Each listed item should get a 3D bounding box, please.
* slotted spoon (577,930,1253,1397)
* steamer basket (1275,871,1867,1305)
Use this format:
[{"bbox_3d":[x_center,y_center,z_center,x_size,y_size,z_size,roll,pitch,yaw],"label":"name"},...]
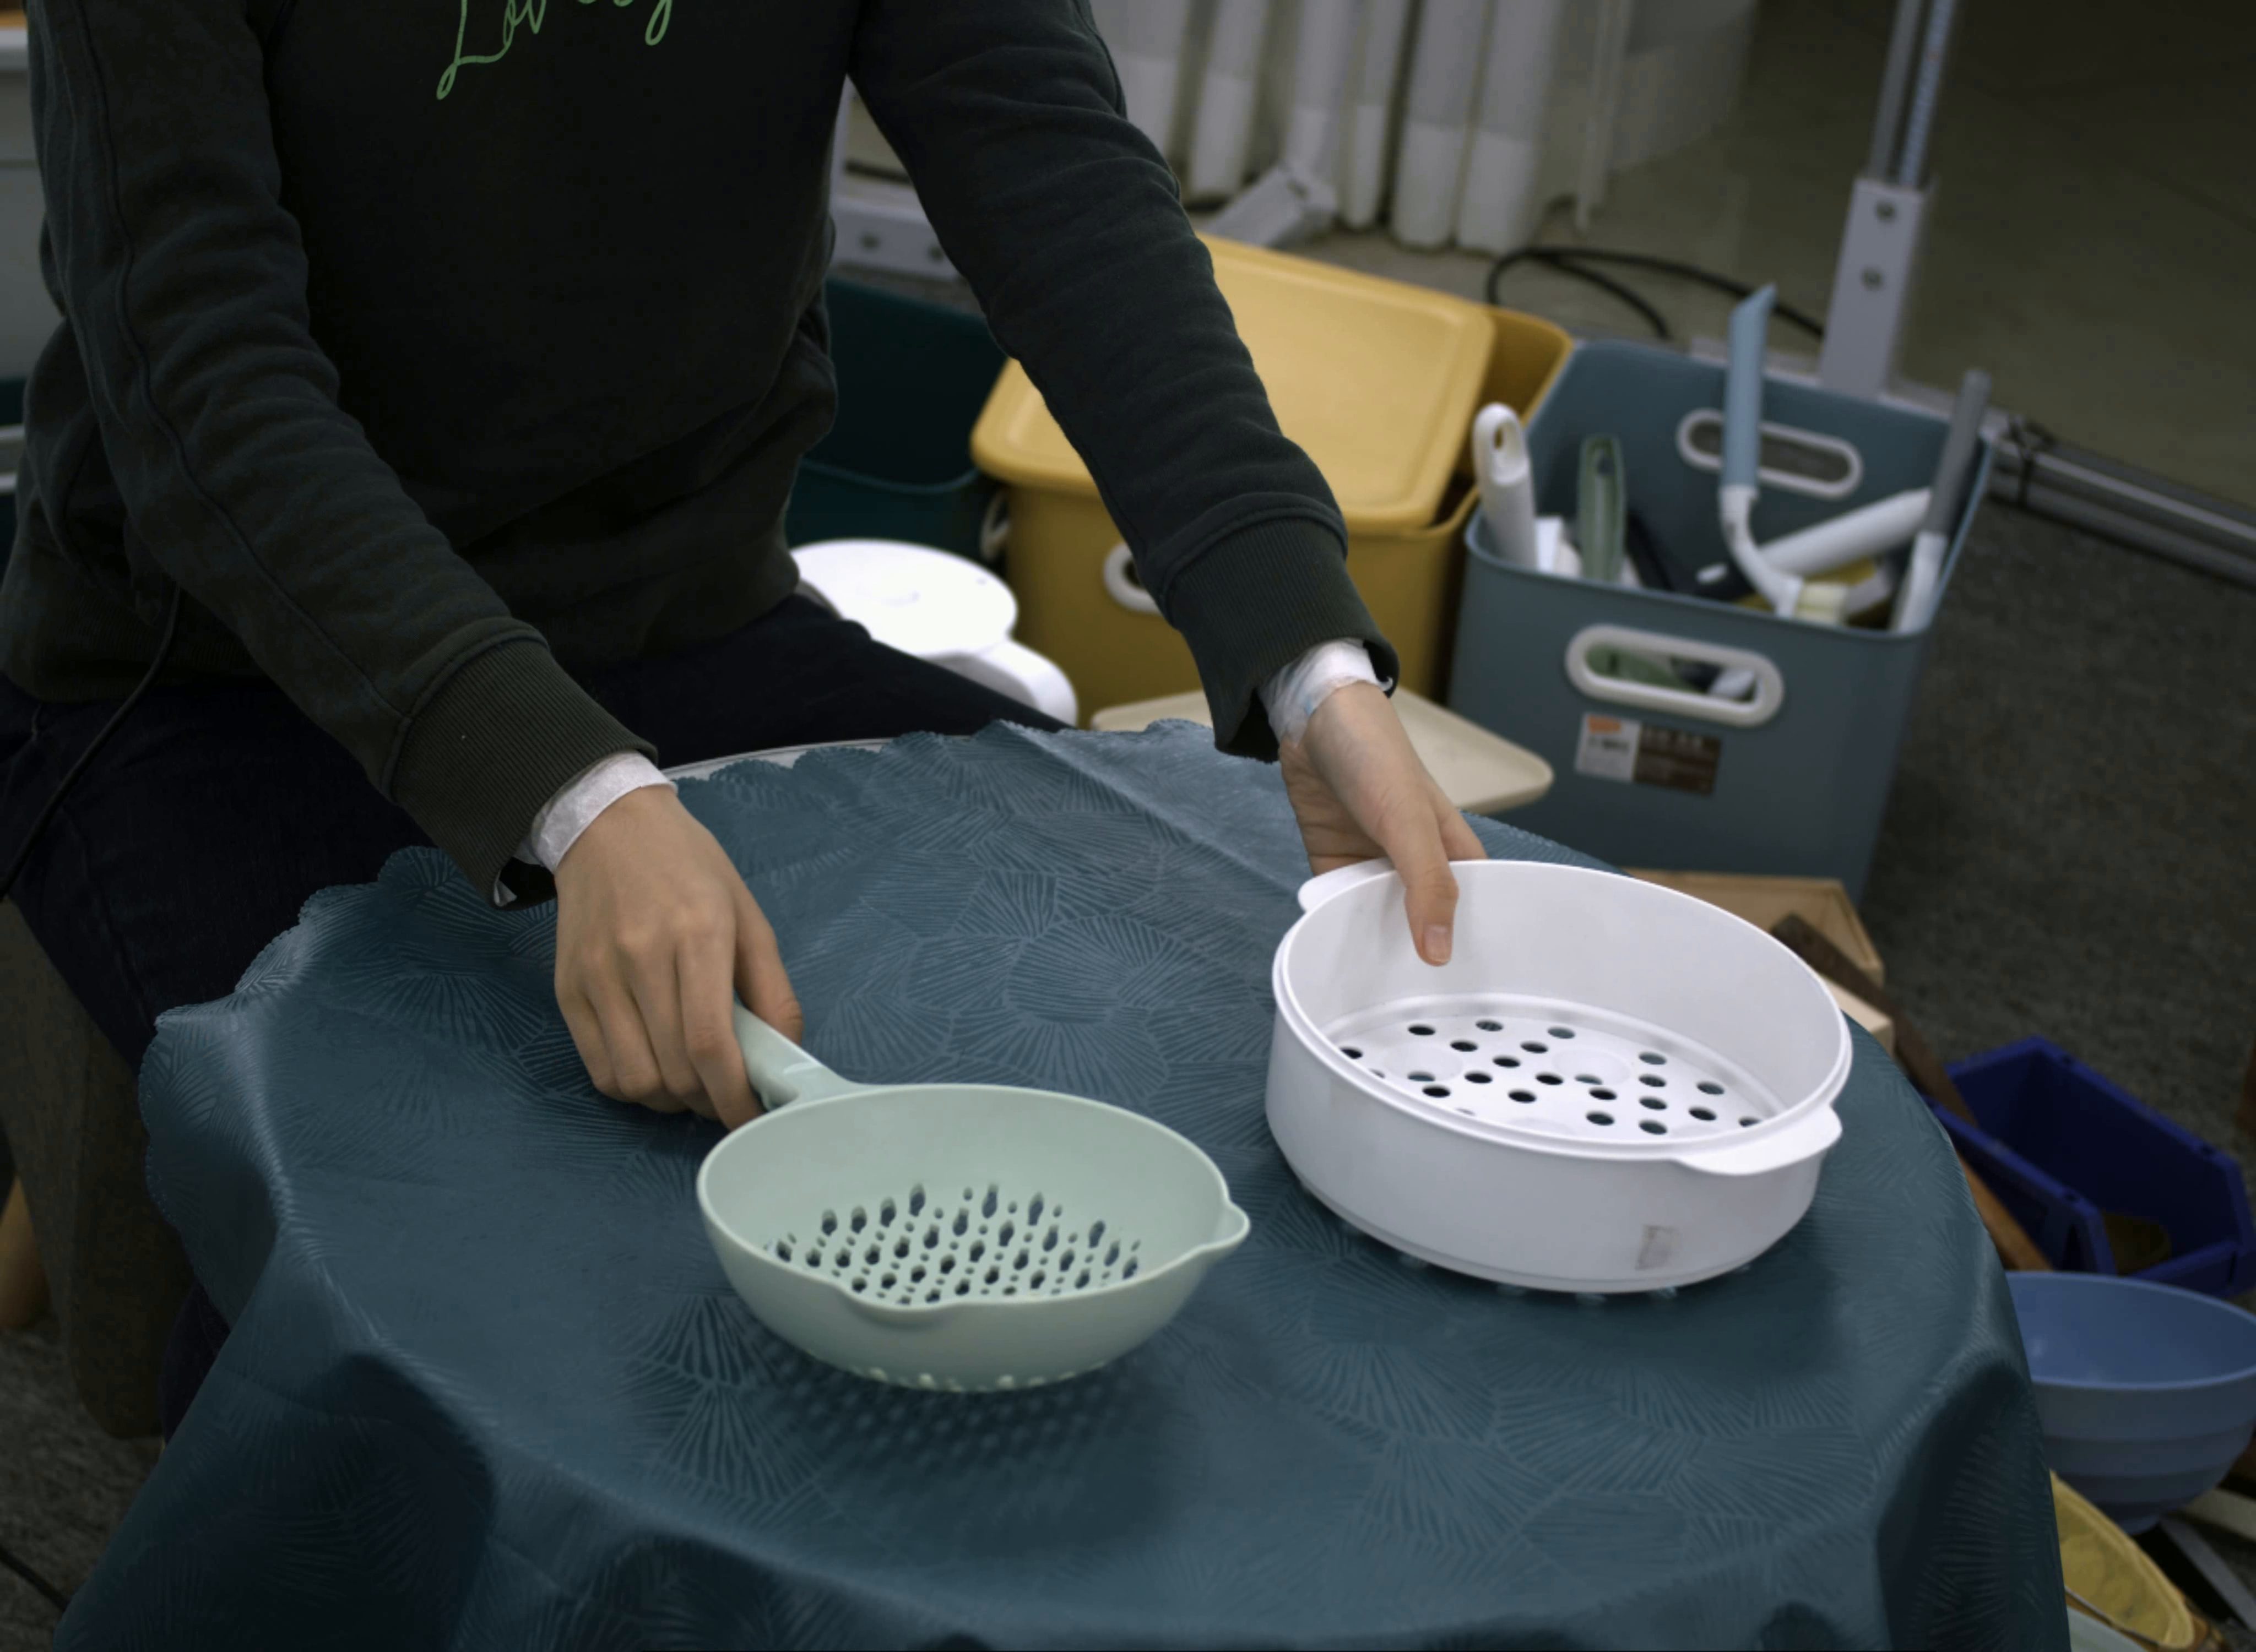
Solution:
[{"bbox_3d":[-0.102,0.095,1.762,0.168,0.075,0.362,-9,30,-29],"label":"slotted spoon"},{"bbox_3d":[0.149,0.091,1.828,0.201,0.069,0.232,-14,33,-37],"label":"steamer basket"}]
